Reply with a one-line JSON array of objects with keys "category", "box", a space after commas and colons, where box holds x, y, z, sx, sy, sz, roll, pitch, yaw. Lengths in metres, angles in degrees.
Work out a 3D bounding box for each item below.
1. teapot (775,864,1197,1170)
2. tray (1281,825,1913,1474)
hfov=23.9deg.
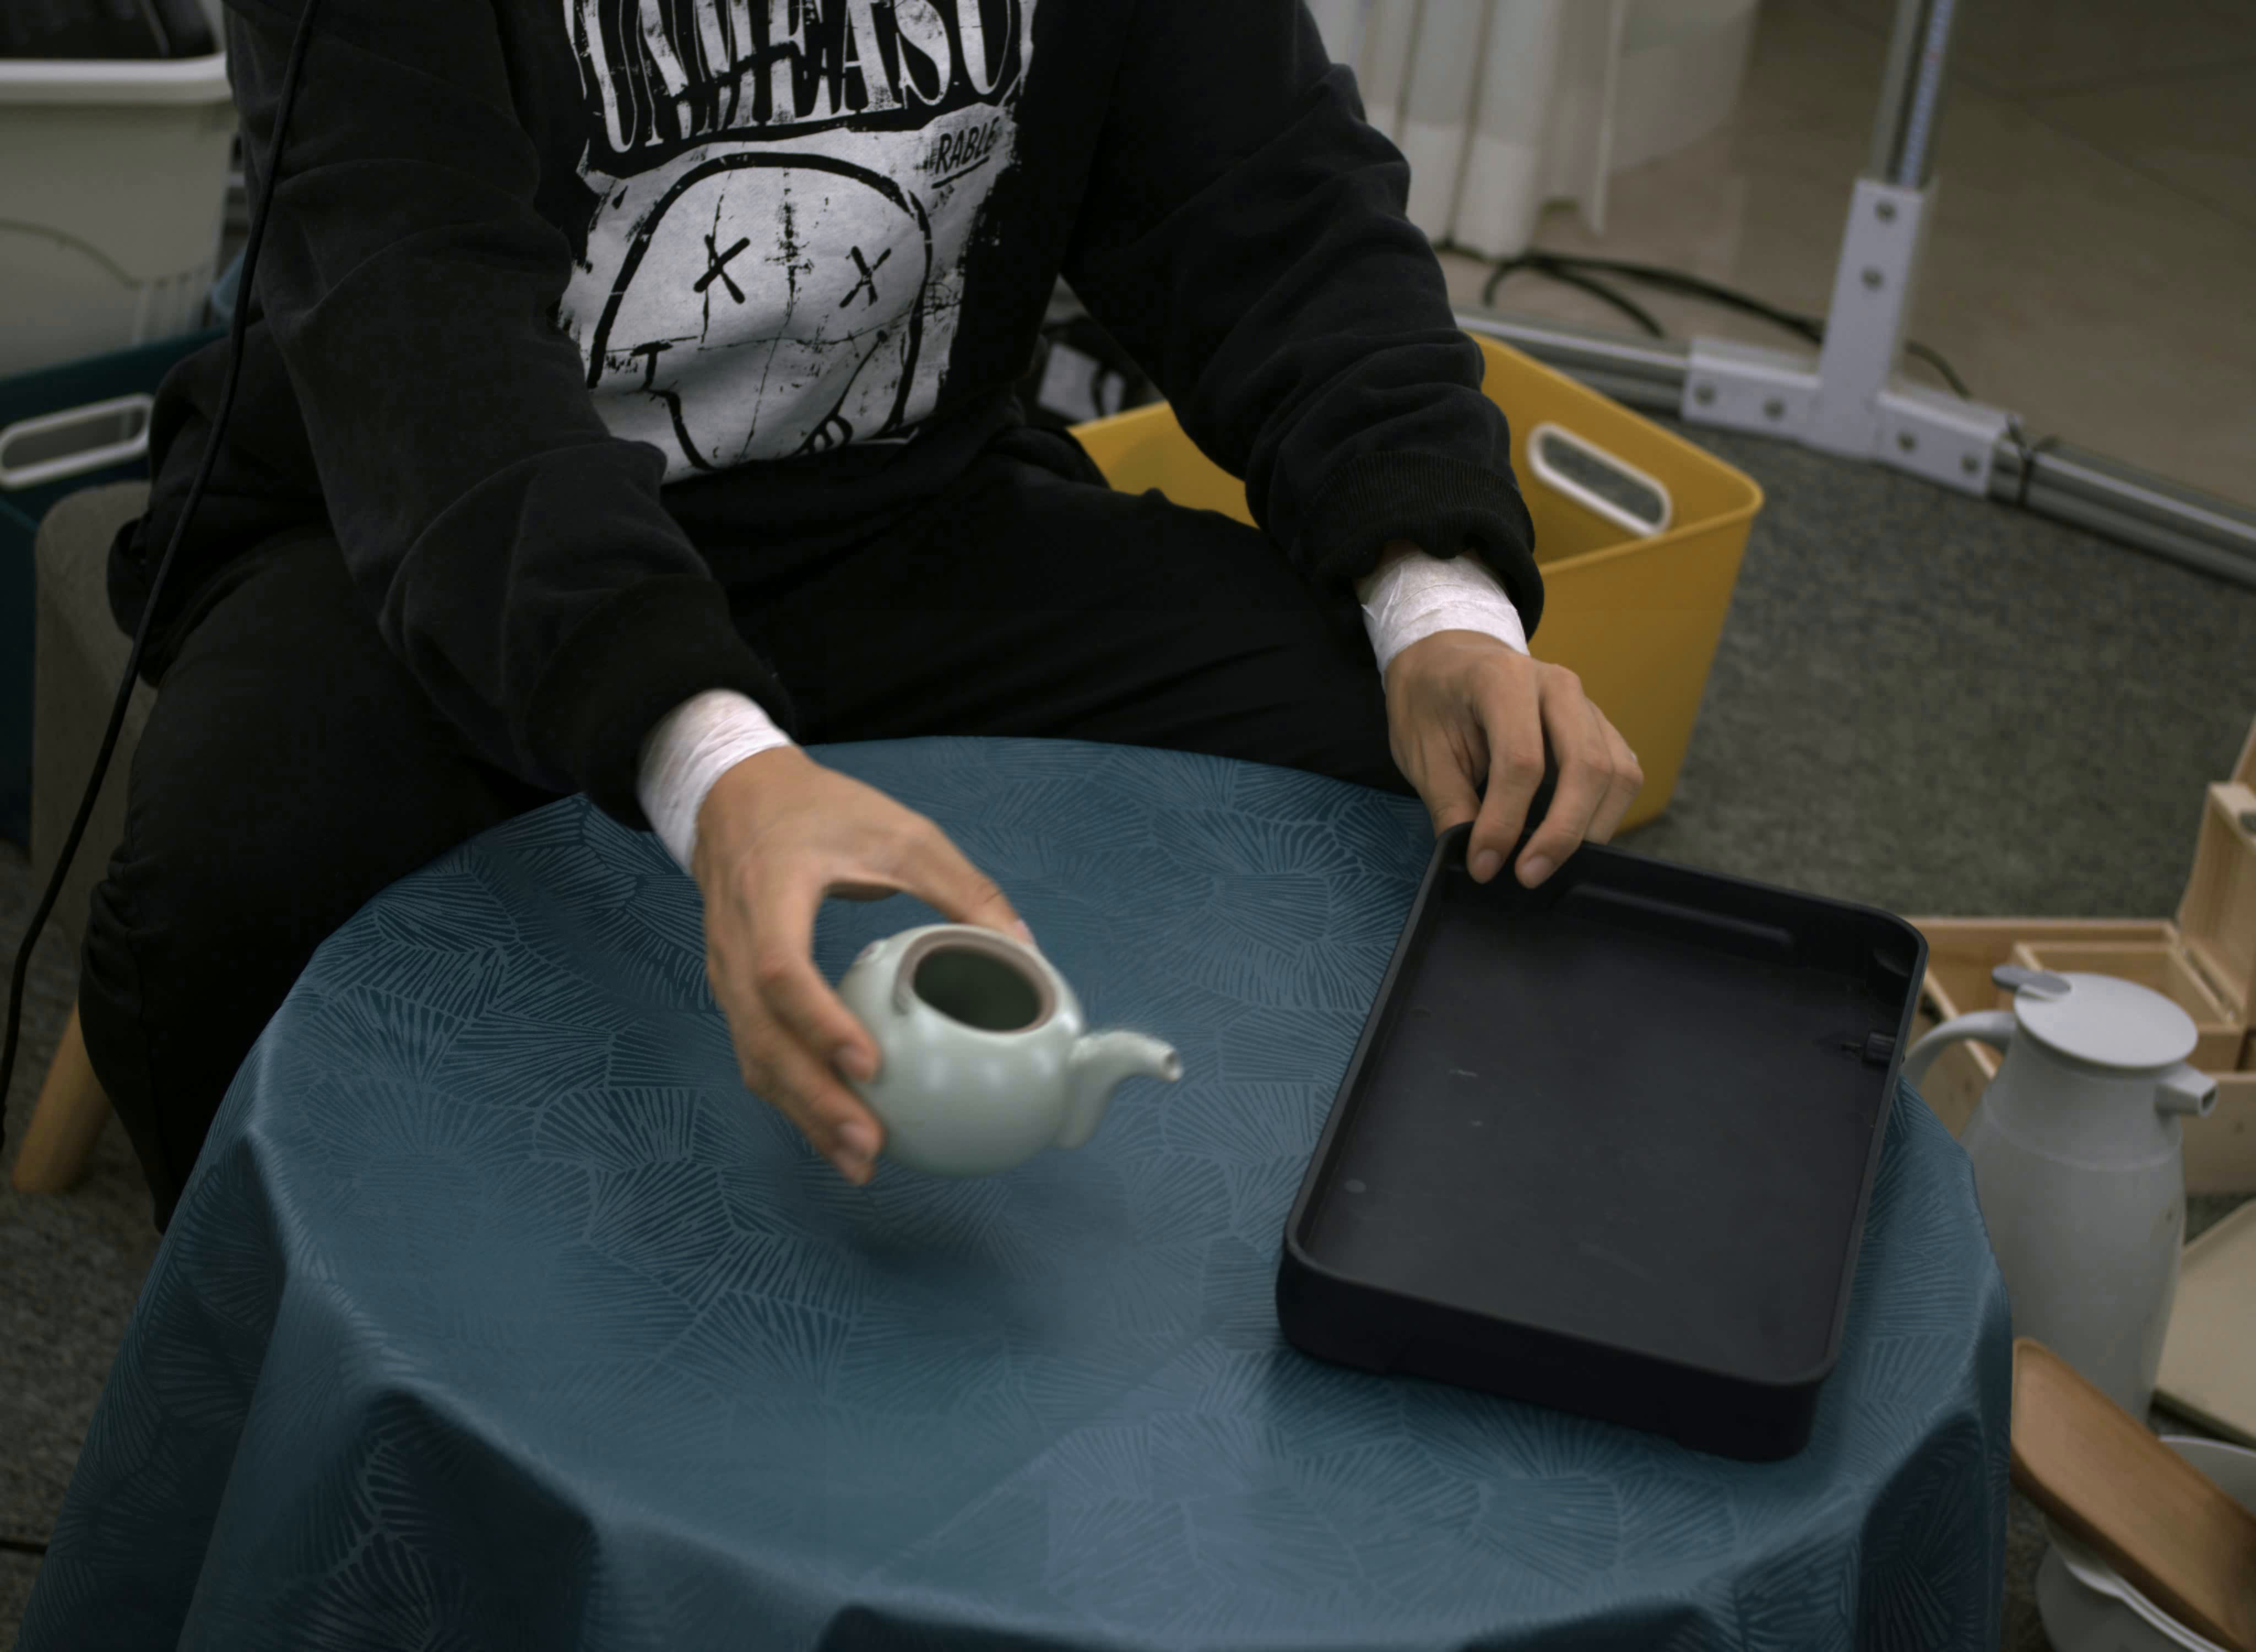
[{"category": "teapot", "box": [-0.053, 0.070, 1.742, 0.144, 0.074, 0.088, 27, 33, 5]}, {"category": "tray", "box": [0.165, 0.103, 1.826, 0.184, 0.037, 0.319, 12, 30, 7]}]
